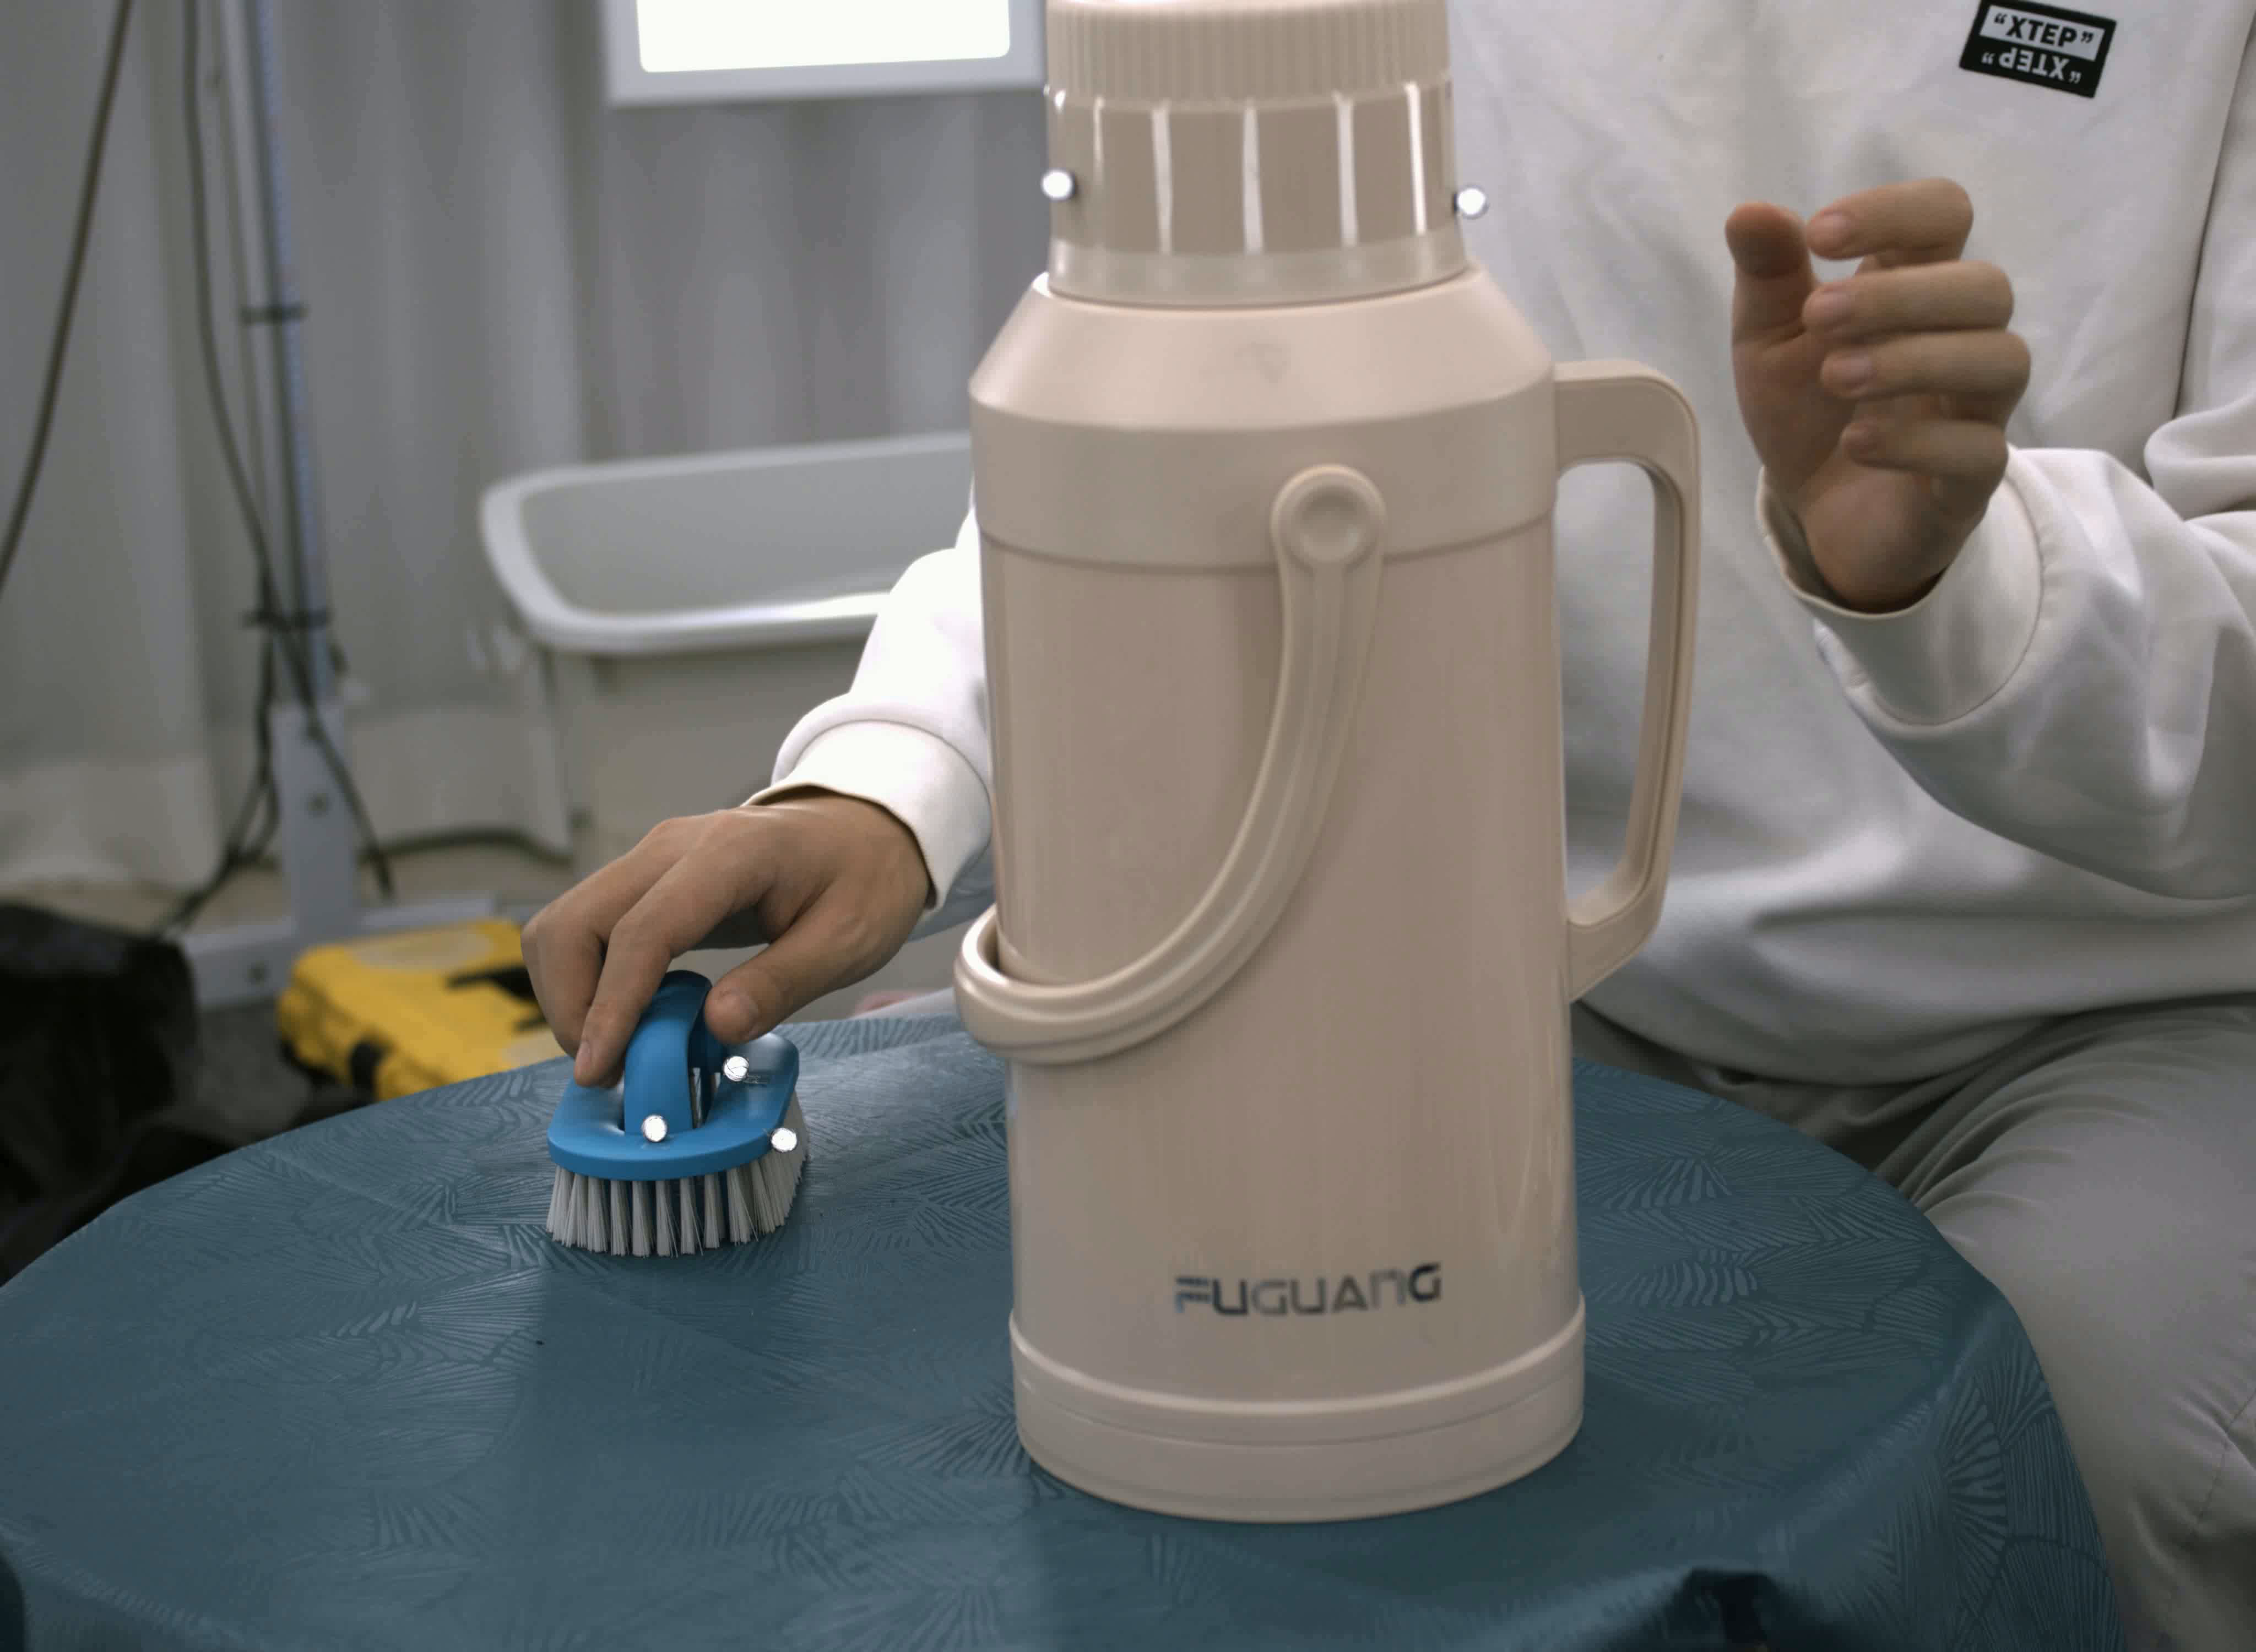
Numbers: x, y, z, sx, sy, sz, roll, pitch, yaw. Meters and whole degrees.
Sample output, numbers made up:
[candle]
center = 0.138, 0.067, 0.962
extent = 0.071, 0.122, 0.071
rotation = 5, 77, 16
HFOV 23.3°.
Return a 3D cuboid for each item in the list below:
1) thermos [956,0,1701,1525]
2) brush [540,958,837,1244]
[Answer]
[thermos]
center = 0.053, -0.027, 1.476
extent = 0.206, 0.405, 0.176
rotation = -5, 12, -9
[brush]
center = -0.141, 0.081, 1.736
extent = 0.084, 0.063, 0.142
rotation = -6, 14, 6
